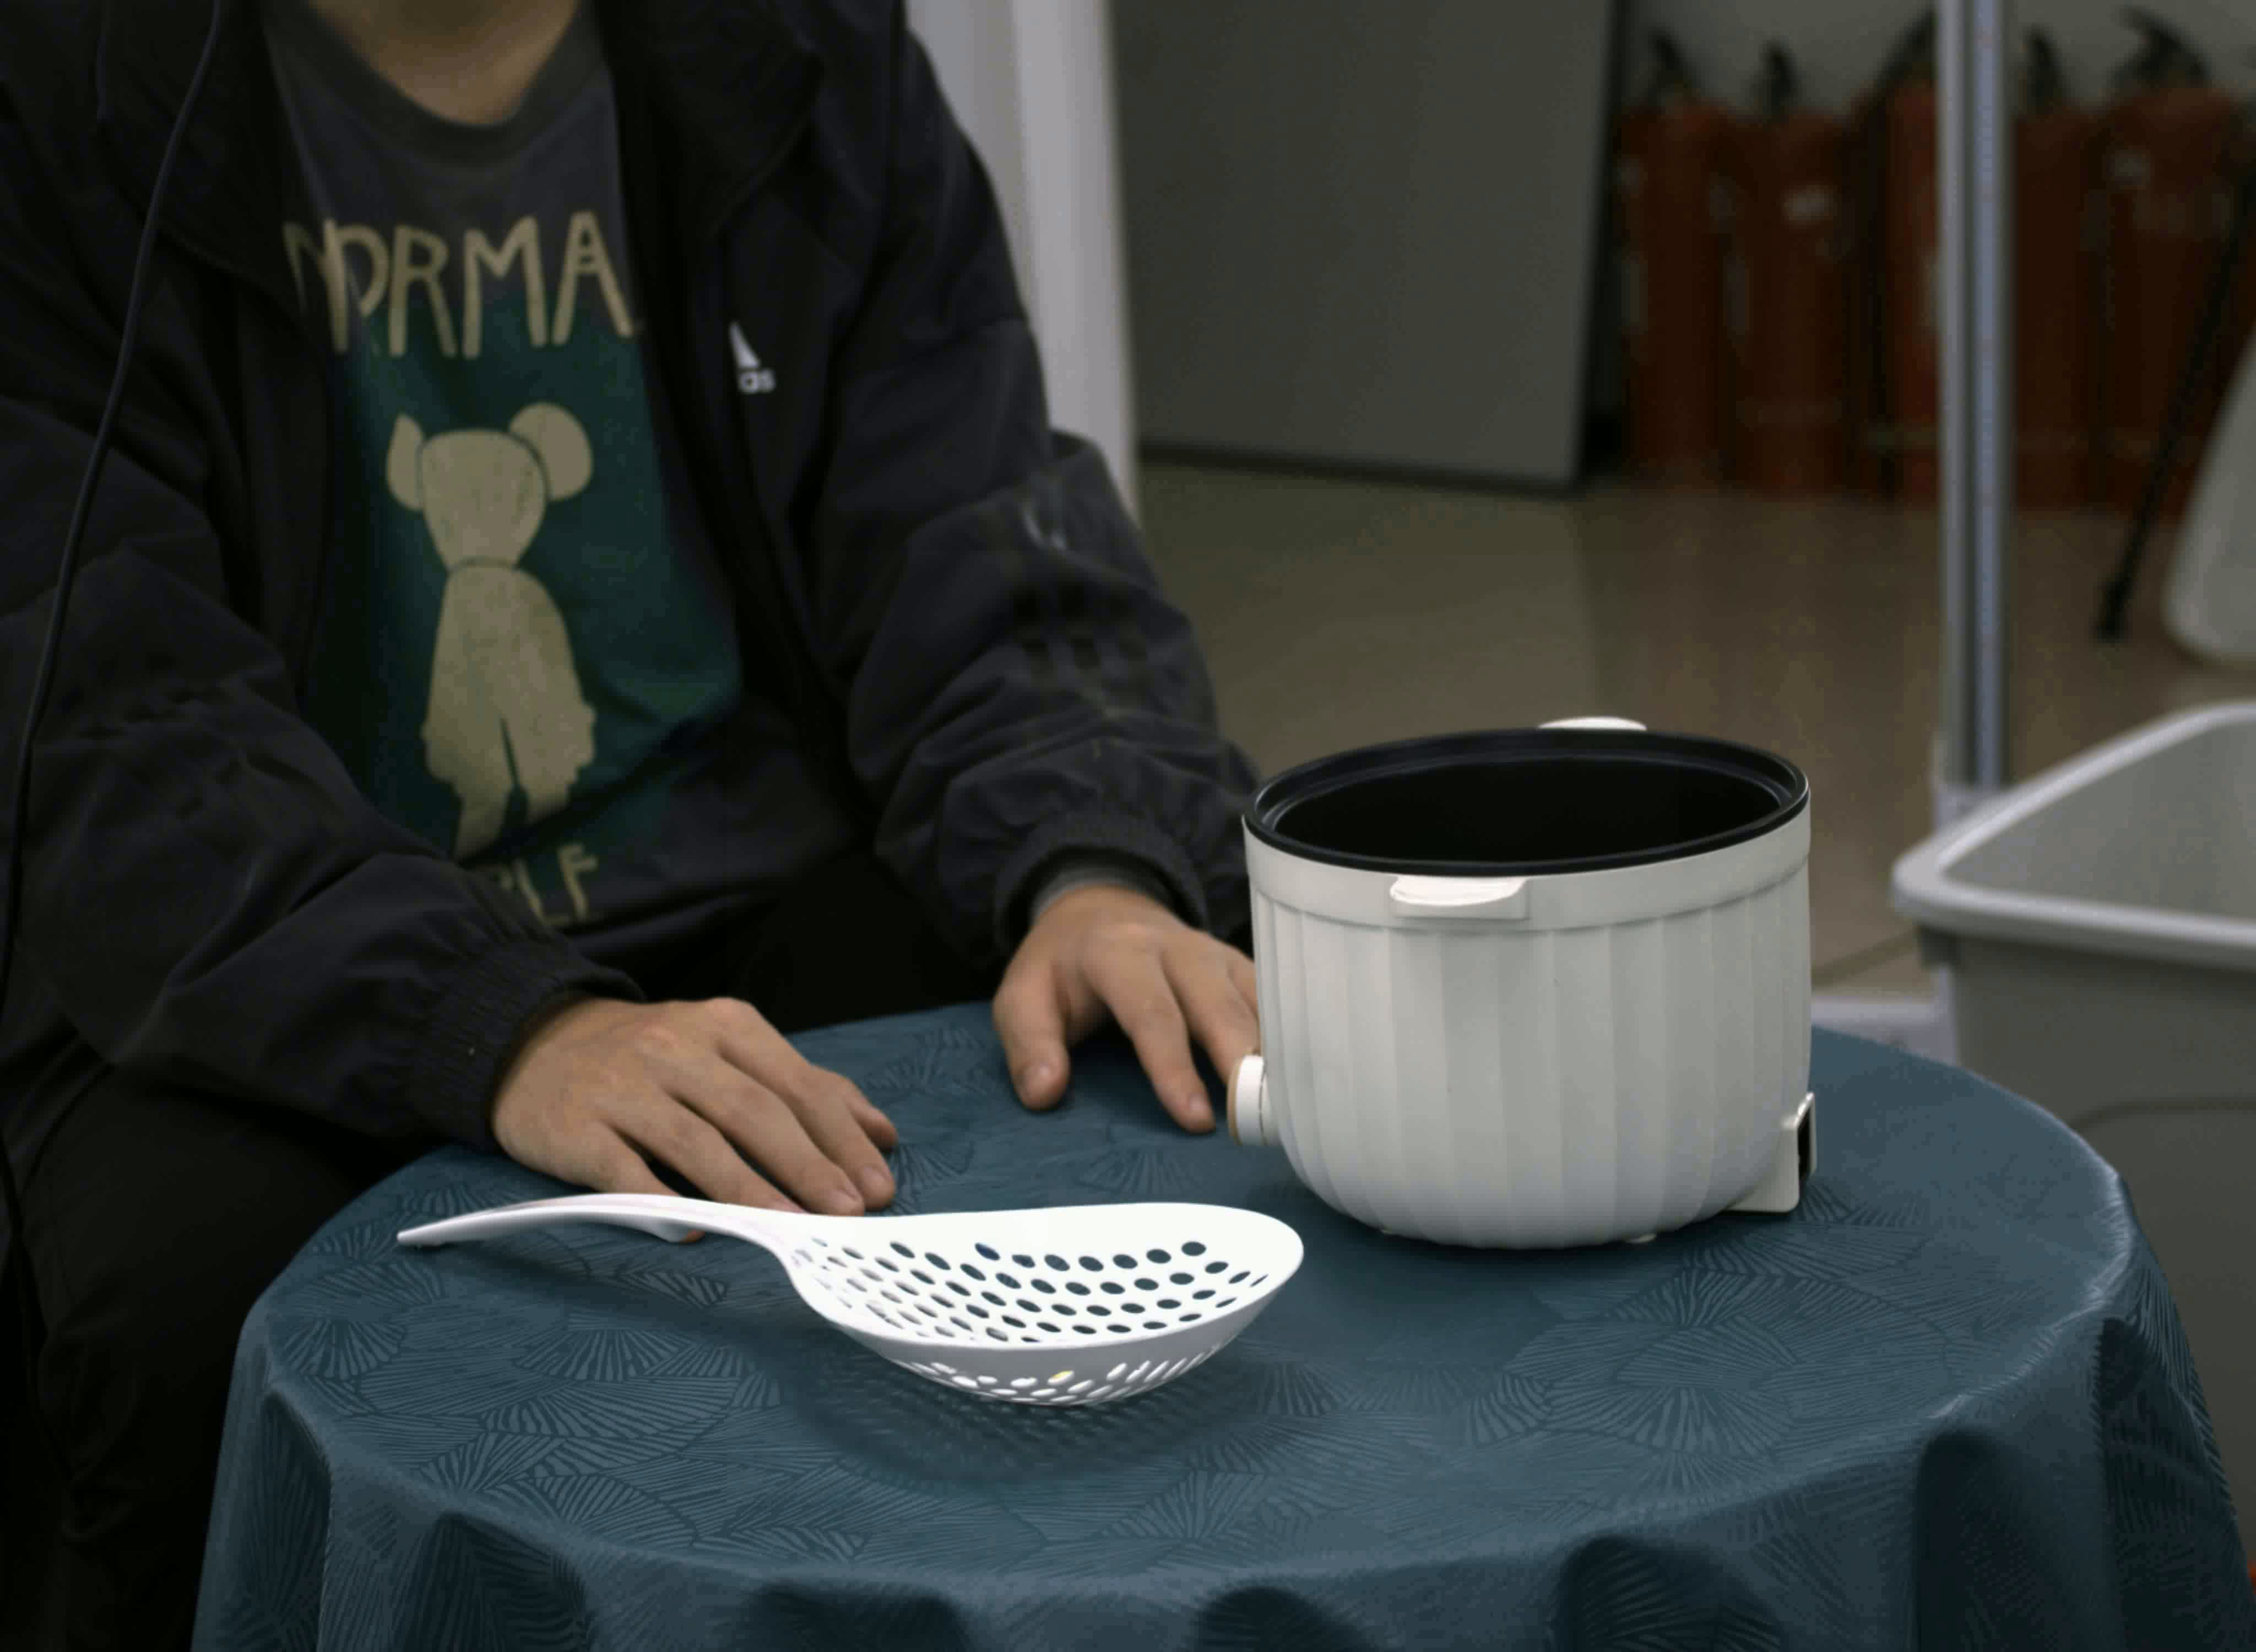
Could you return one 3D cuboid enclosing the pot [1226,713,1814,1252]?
[{"bbox_3d":[0.124,0.053,1.724,0.190,0.144,0.238,3,13,16],"label":"pot"}]

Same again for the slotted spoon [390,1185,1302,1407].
[{"bbox_3d":[-0.099,0.136,1.655,0.350,0.051,0.134,8,20,39],"label":"slotted spoon"}]
